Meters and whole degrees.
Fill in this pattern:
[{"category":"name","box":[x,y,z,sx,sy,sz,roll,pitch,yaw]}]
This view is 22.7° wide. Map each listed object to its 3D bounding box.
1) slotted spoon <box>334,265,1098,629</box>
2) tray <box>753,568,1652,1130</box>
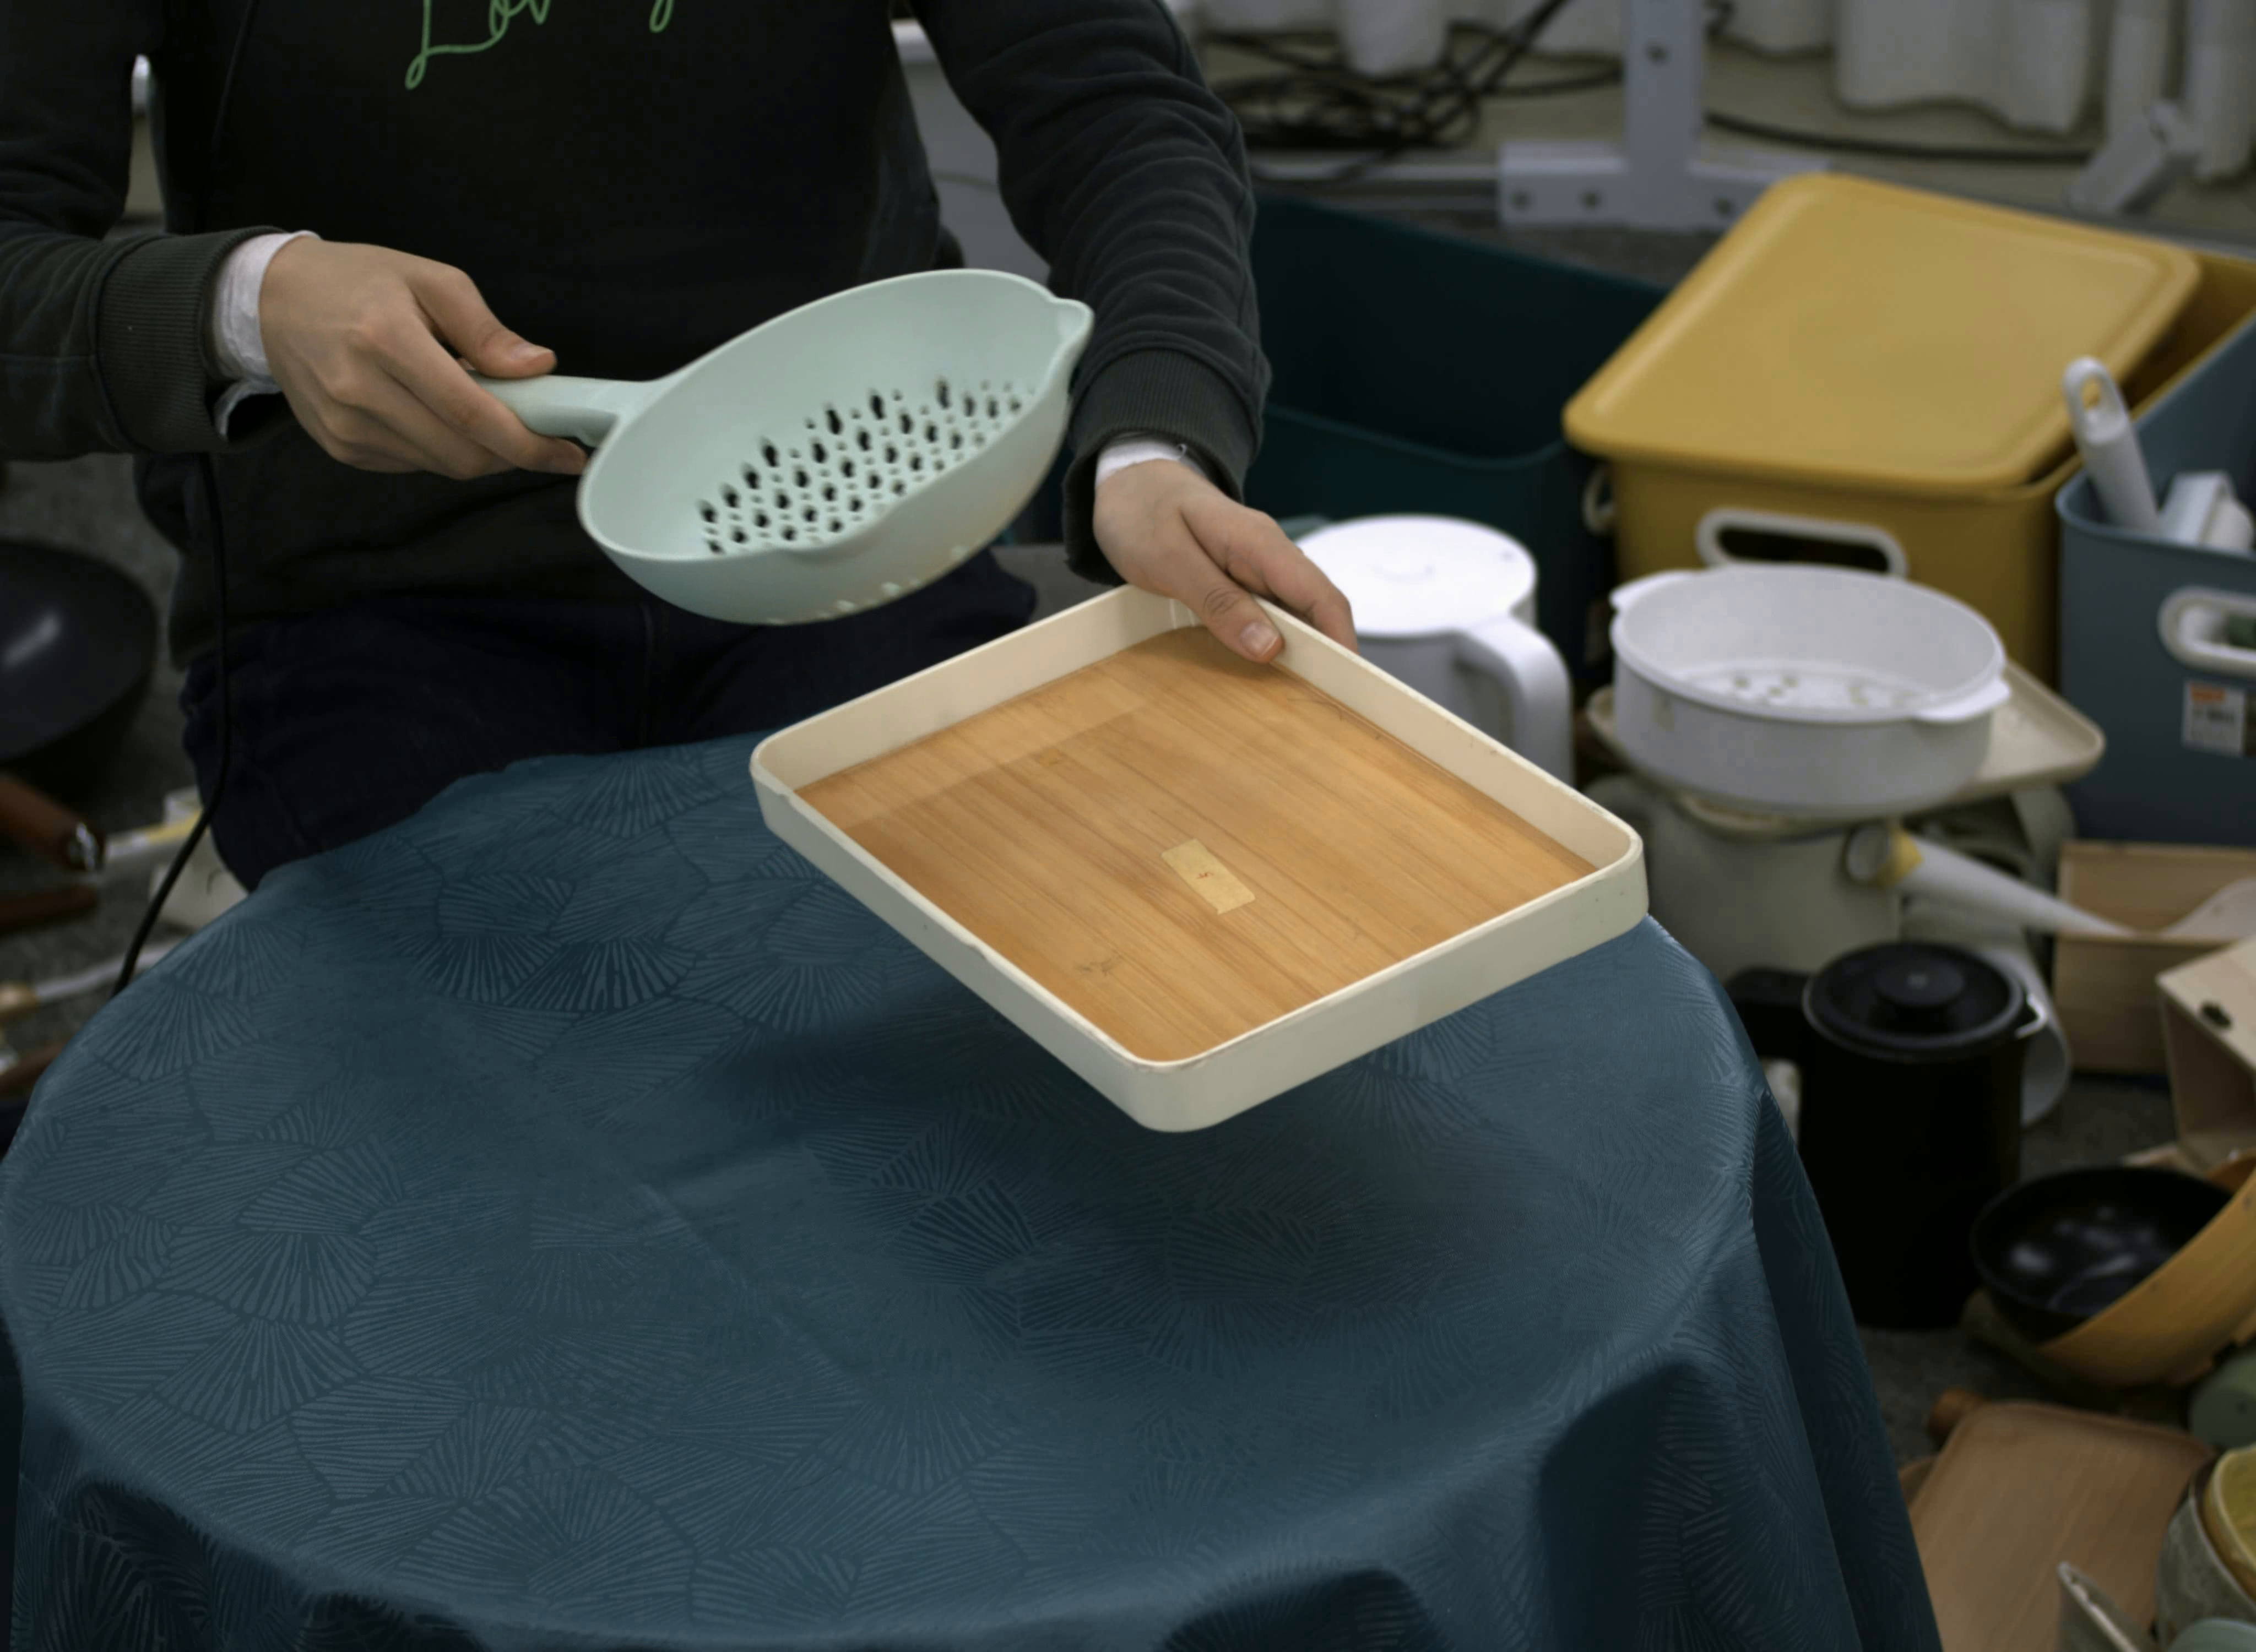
[{"category":"slotted spoon","box":[-0.159,-0.133,1.893,0.357,0.074,0.172,15,46,39]},{"category":"tray","box":[0.019,0.002,1.859,0.193,0.027,0.301,-23,30,-21]}]
